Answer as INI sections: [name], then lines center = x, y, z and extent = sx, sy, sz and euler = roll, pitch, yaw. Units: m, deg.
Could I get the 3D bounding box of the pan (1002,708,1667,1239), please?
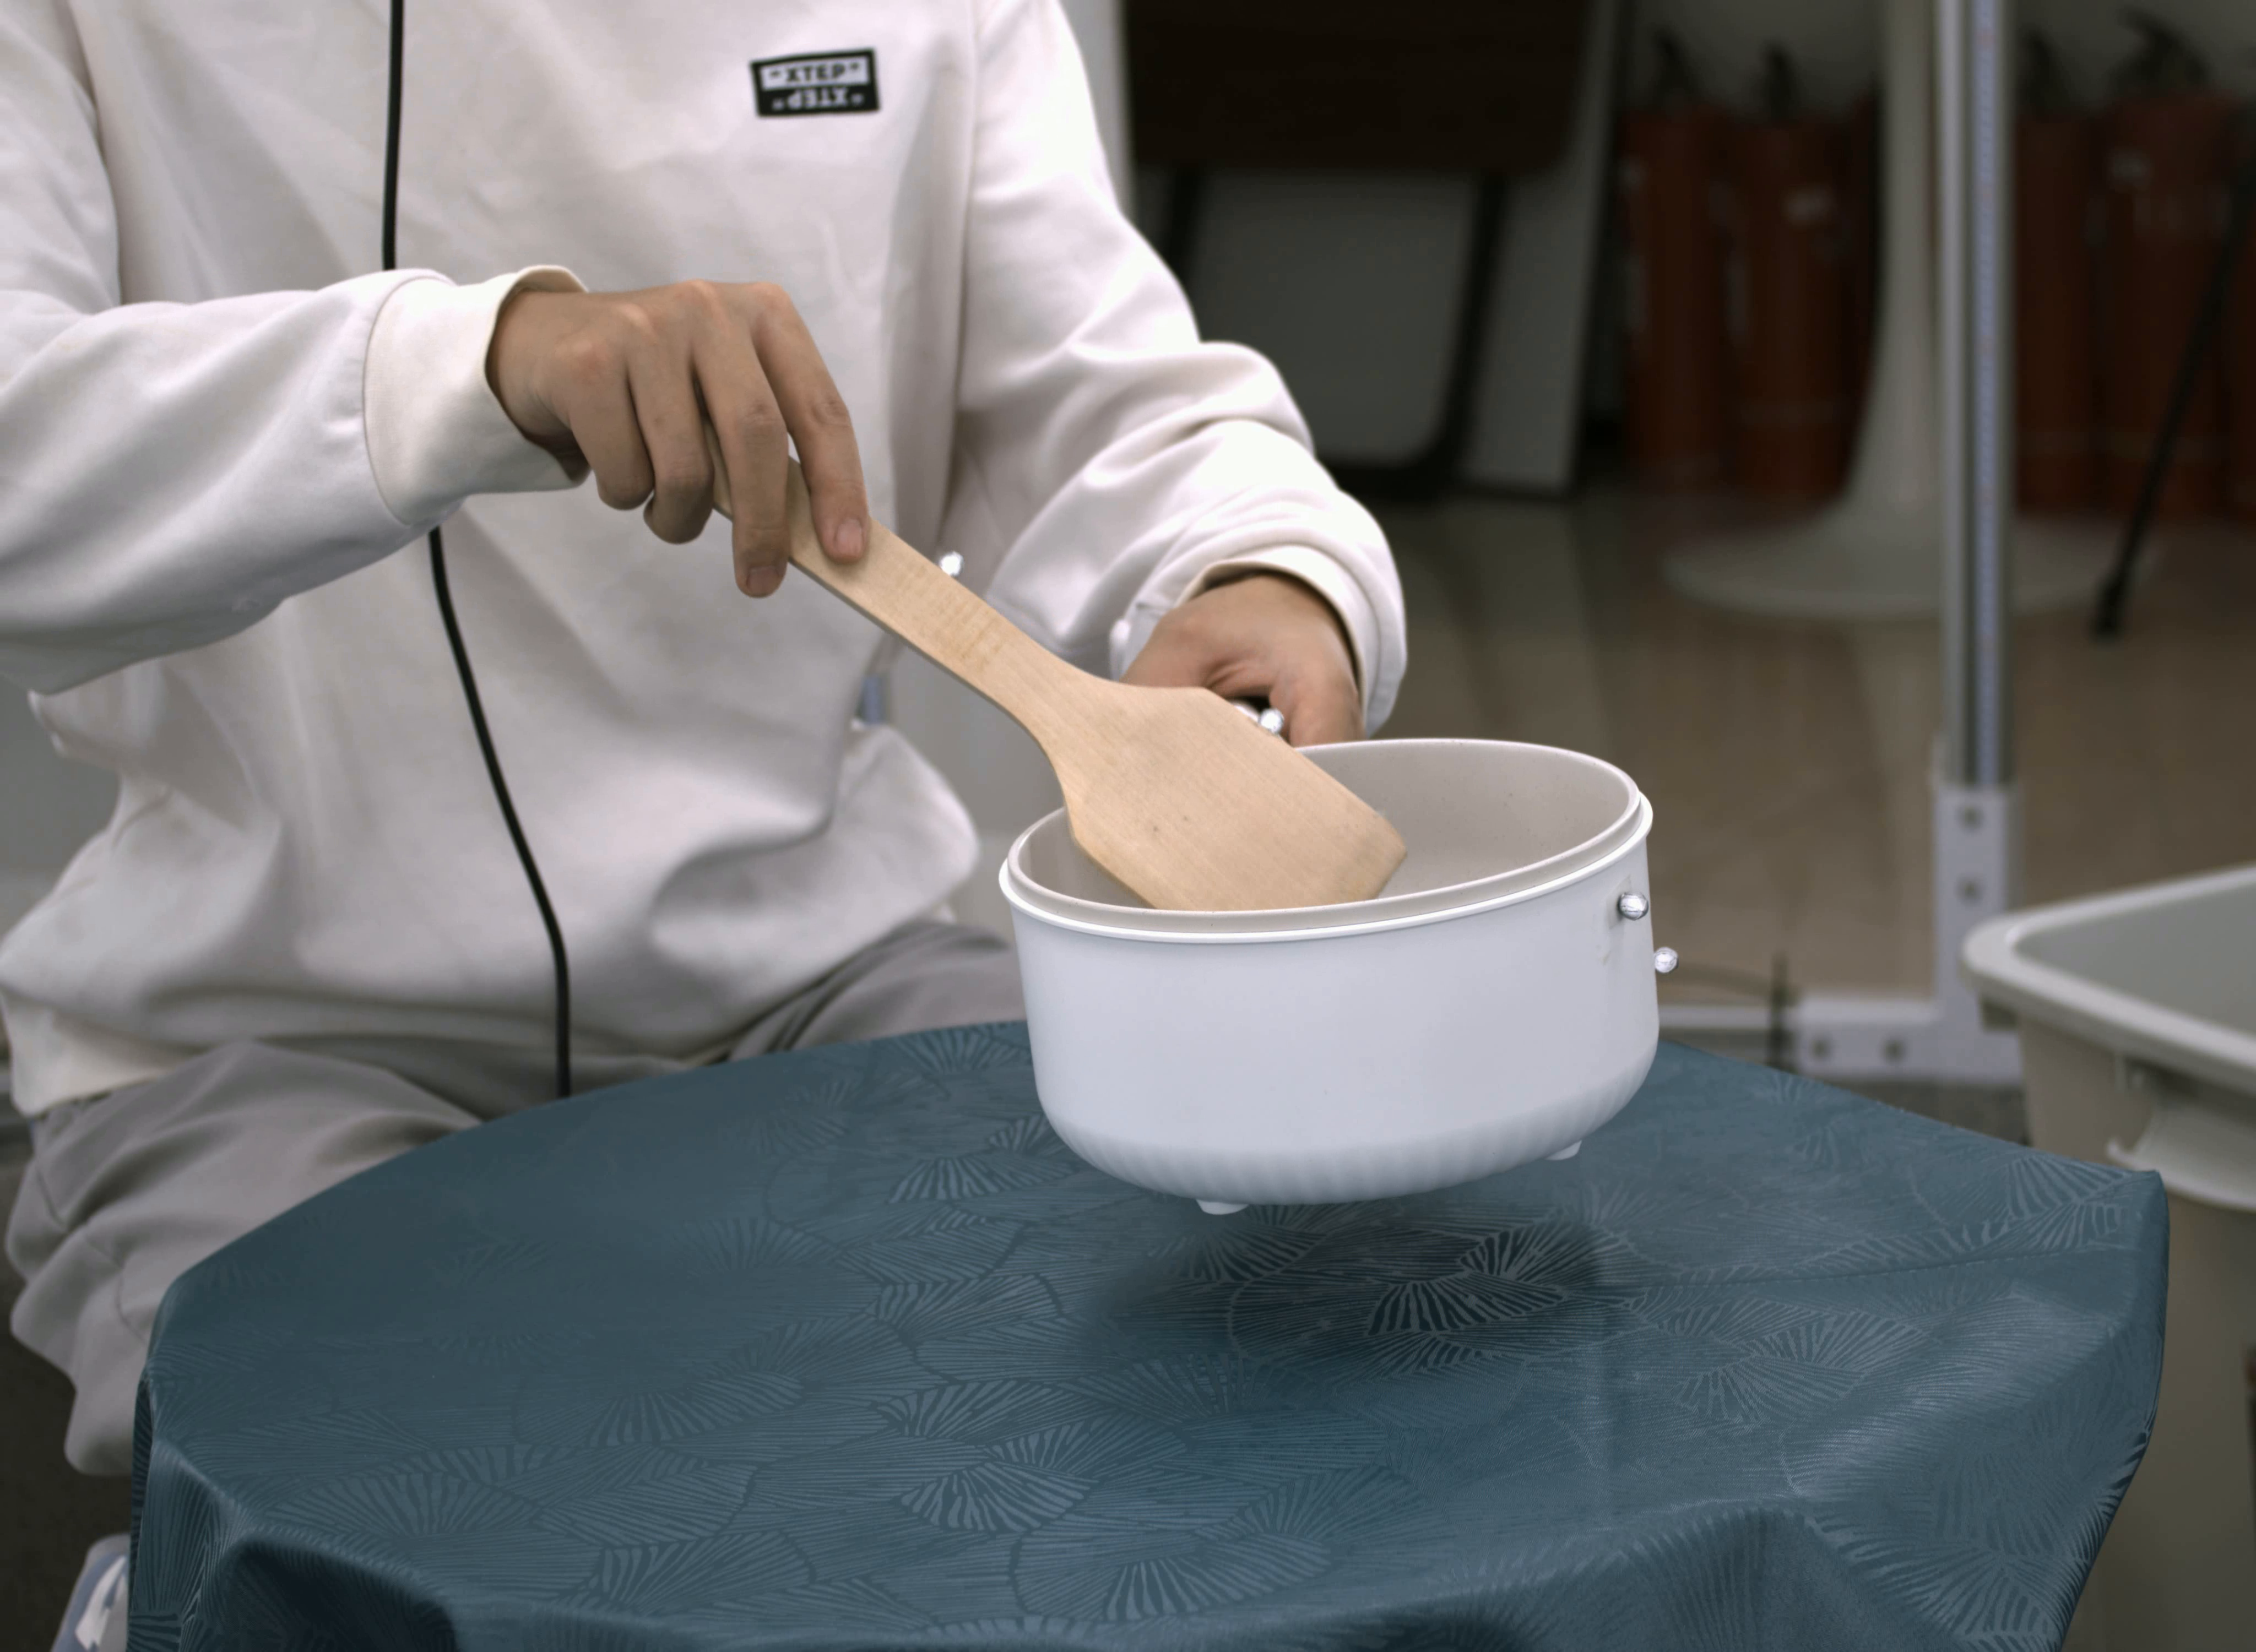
[pan]
center = 0.054, 0.039, 1.726
extent = 0.198, 0.103, 0.356
euler = -13, 12, -7
